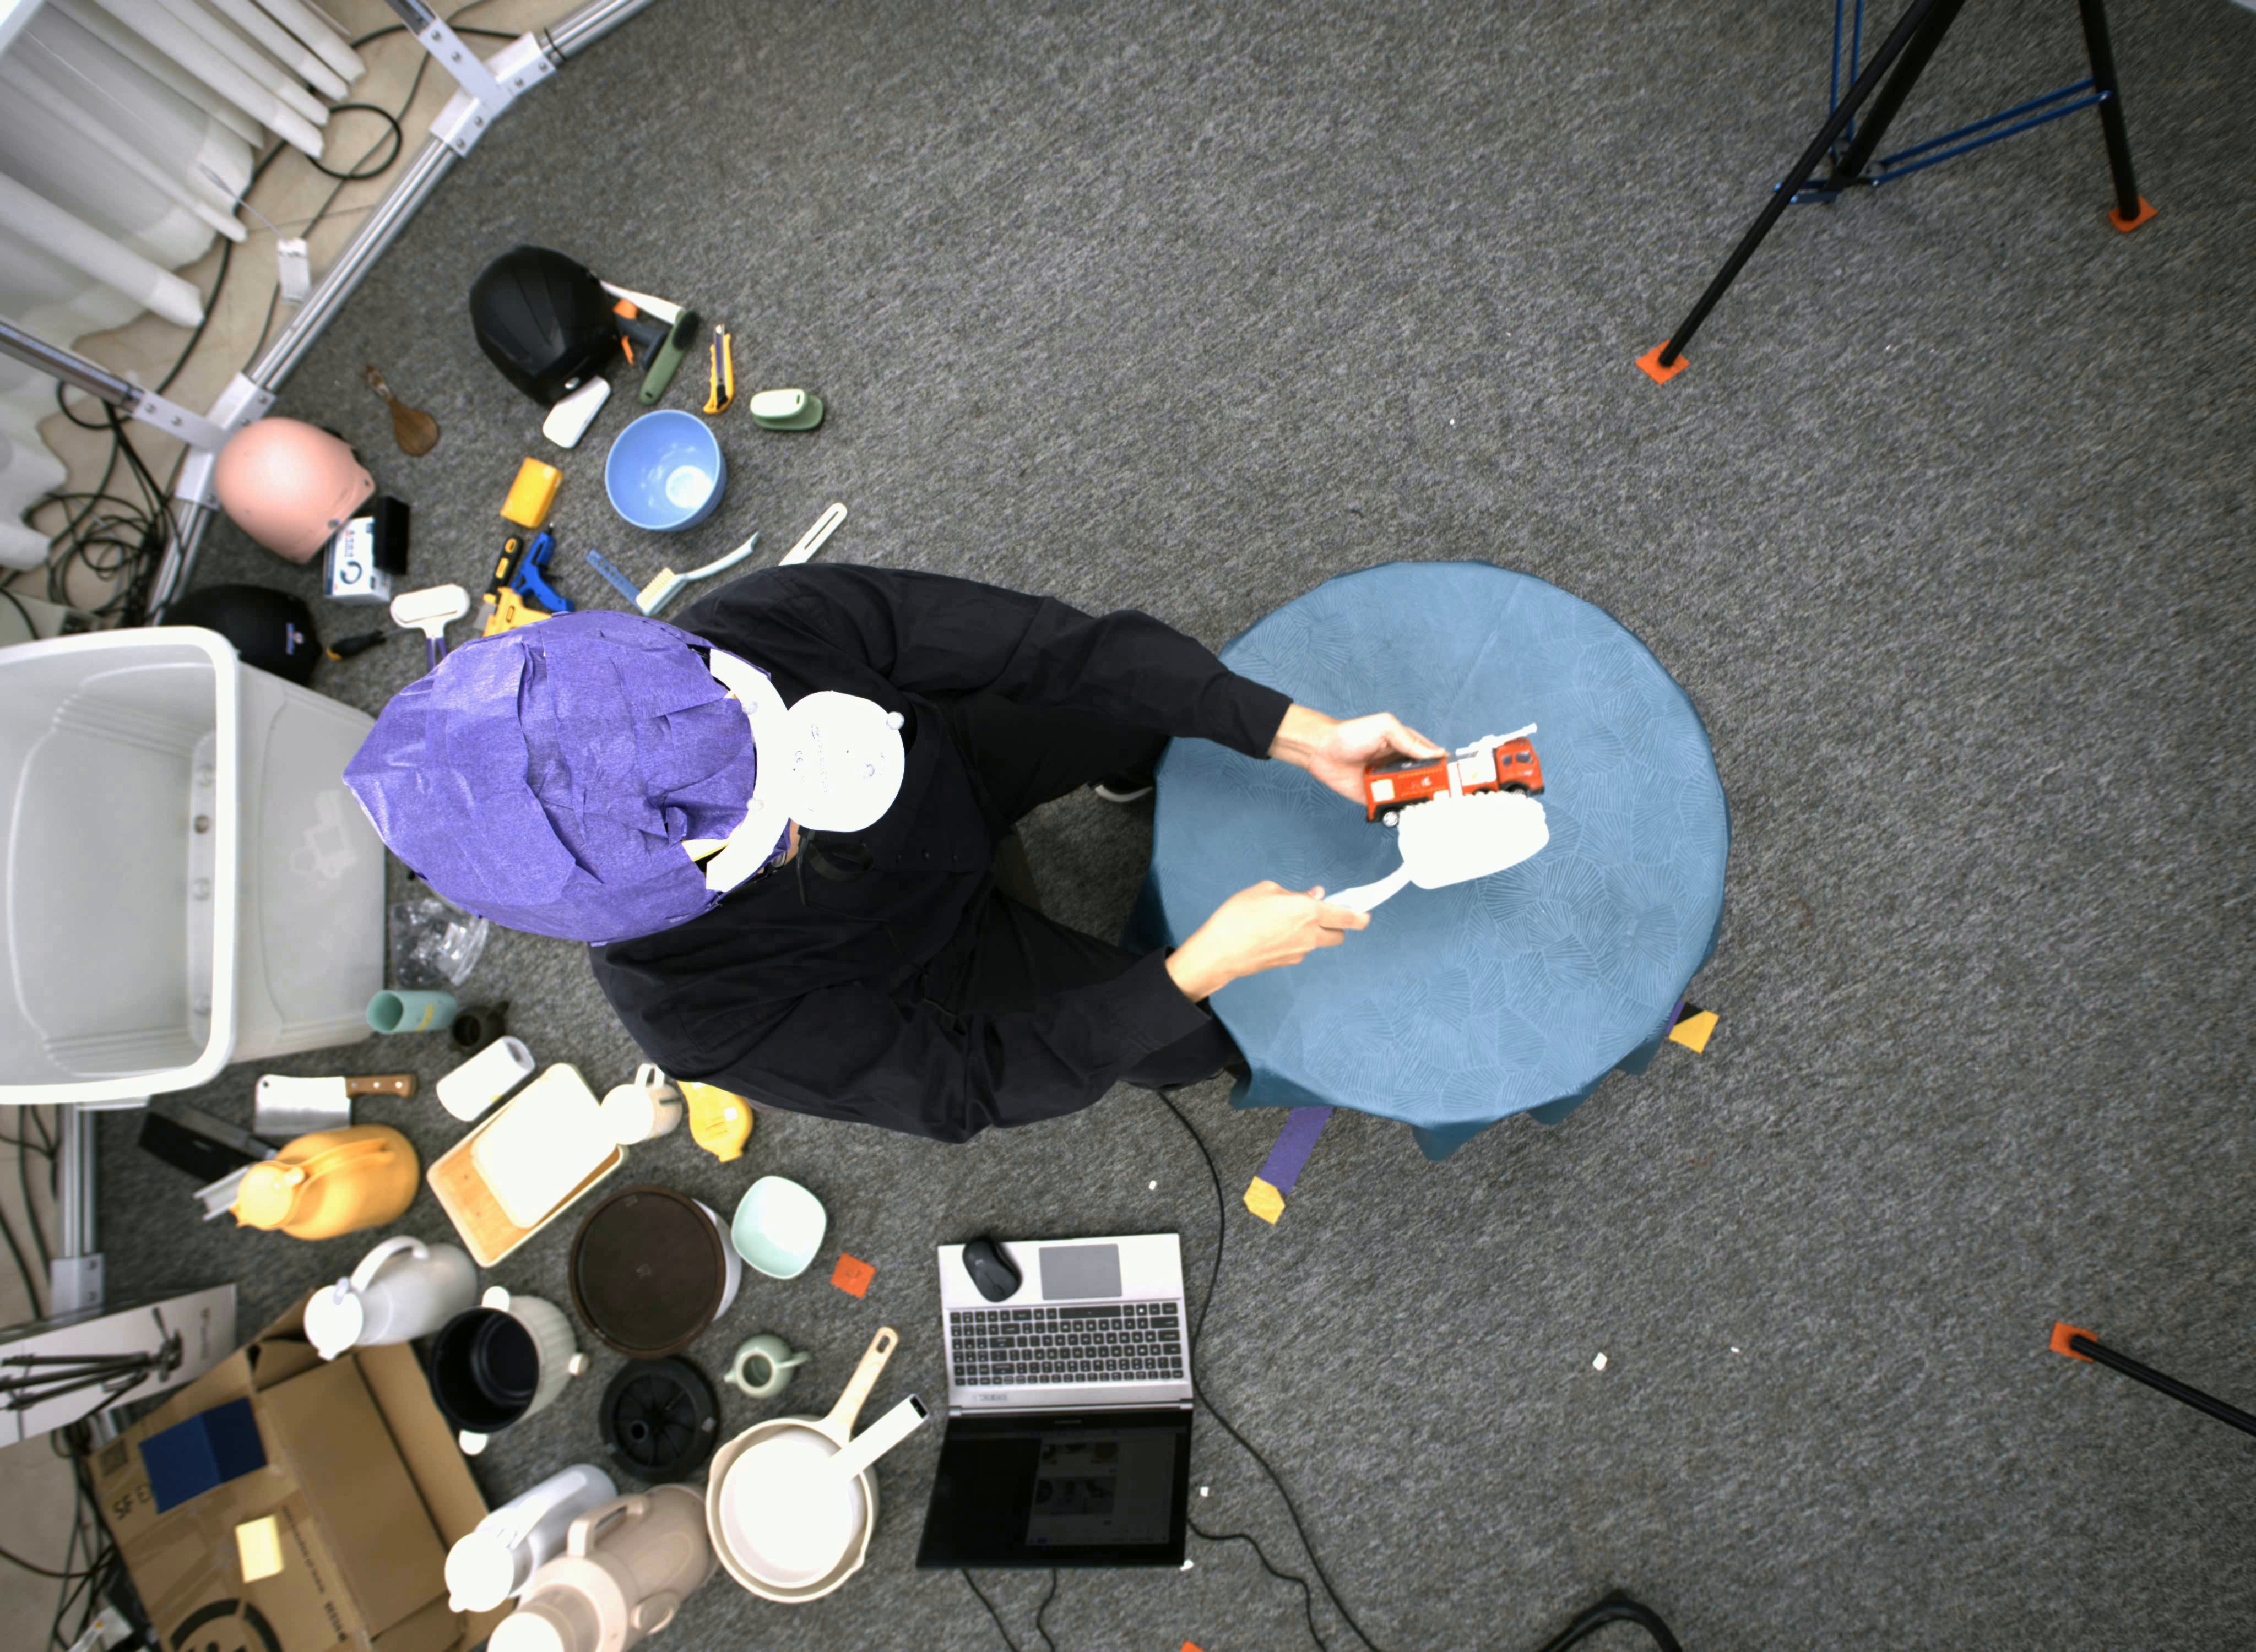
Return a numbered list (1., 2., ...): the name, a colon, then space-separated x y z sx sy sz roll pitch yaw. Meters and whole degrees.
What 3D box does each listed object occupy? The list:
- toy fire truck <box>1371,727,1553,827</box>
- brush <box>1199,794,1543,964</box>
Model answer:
1. toy fire truck: 0.302 -0.043 1.253 0.169 0.053 0.071 -11 106 15
2. brush: 0.213 0.039 1.250 0.327 0.084 0.082 -20 83 8
